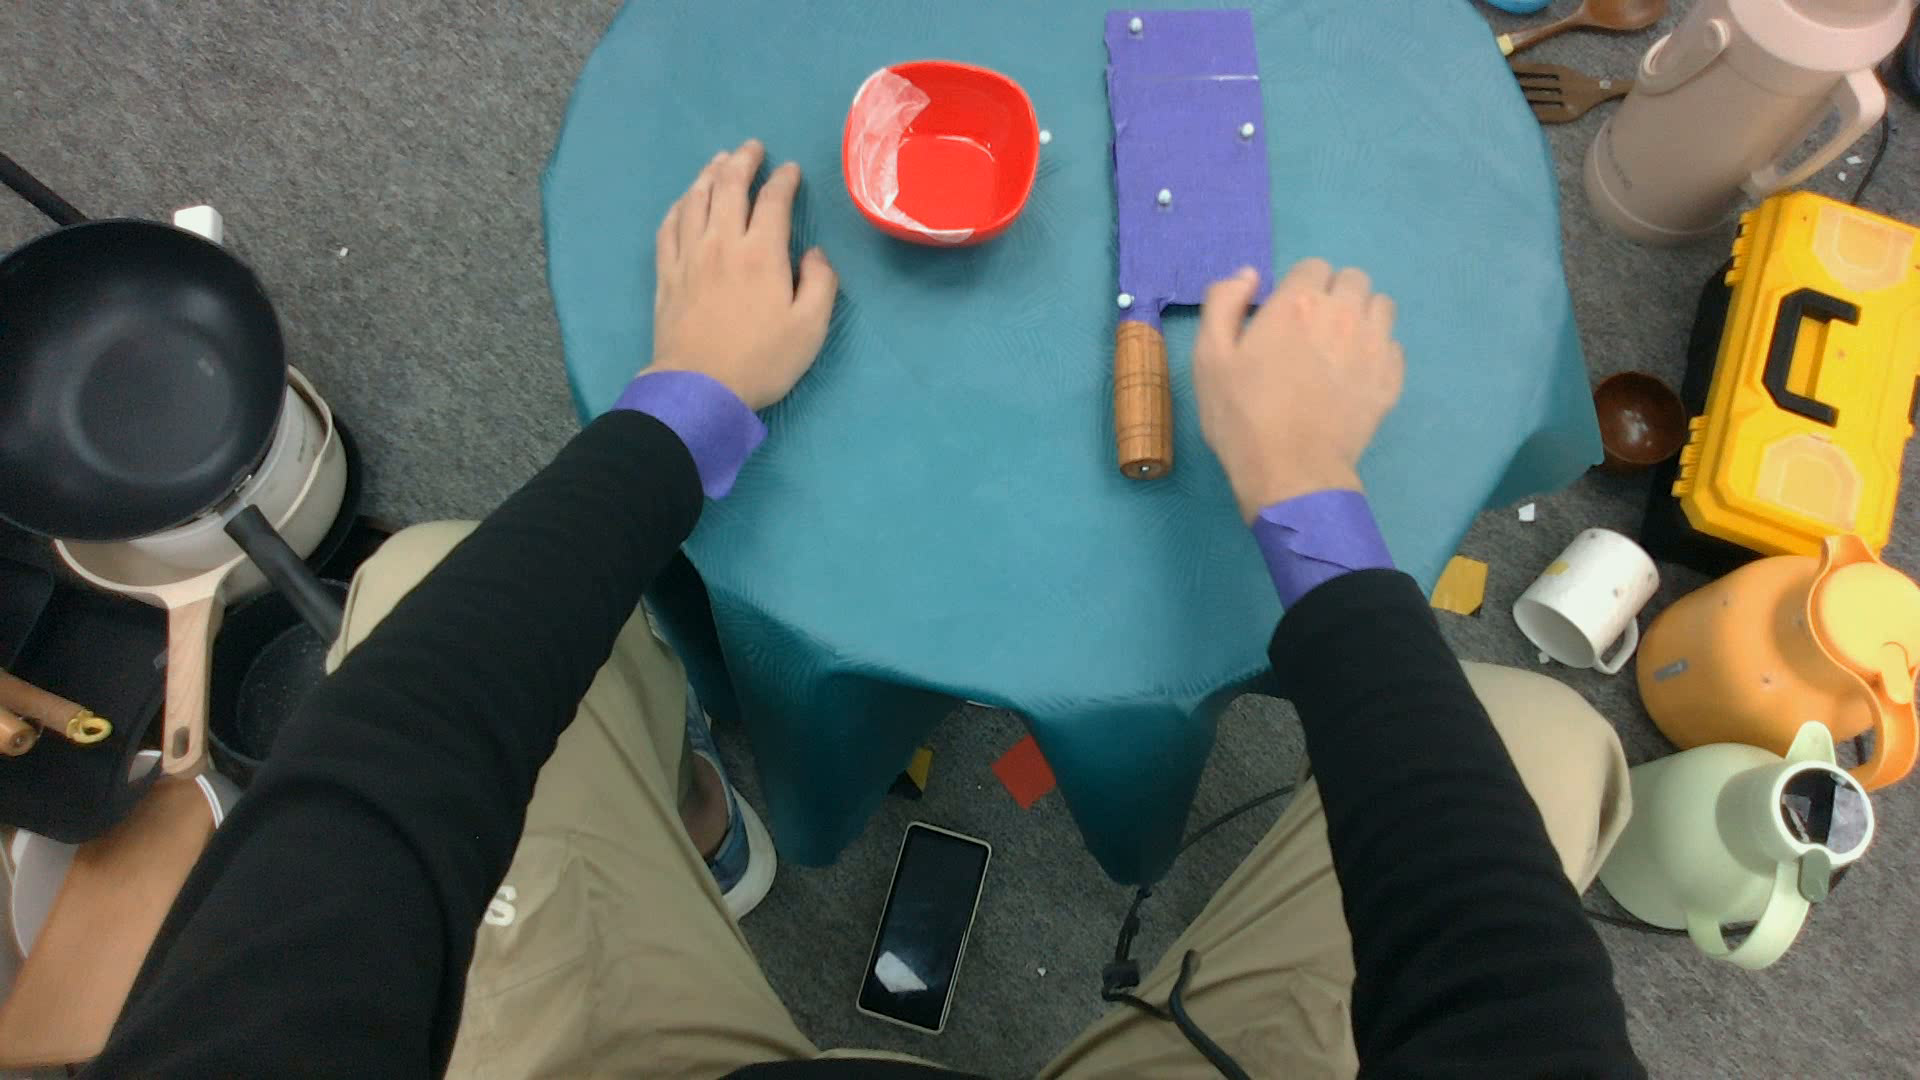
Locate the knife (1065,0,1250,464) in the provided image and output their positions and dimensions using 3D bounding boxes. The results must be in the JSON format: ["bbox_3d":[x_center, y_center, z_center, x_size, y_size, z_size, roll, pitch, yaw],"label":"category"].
[{"bbox_3d":[0.121,-0.195,0.805,0.104,0.032,0.316,-1,72,-2],"label":"knife"}]

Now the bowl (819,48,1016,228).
[{"bbox_3d":[-0.025,-0.222,0.793,0.119,0.051,0.119,1,70,-2],"label":"bowl"}]
